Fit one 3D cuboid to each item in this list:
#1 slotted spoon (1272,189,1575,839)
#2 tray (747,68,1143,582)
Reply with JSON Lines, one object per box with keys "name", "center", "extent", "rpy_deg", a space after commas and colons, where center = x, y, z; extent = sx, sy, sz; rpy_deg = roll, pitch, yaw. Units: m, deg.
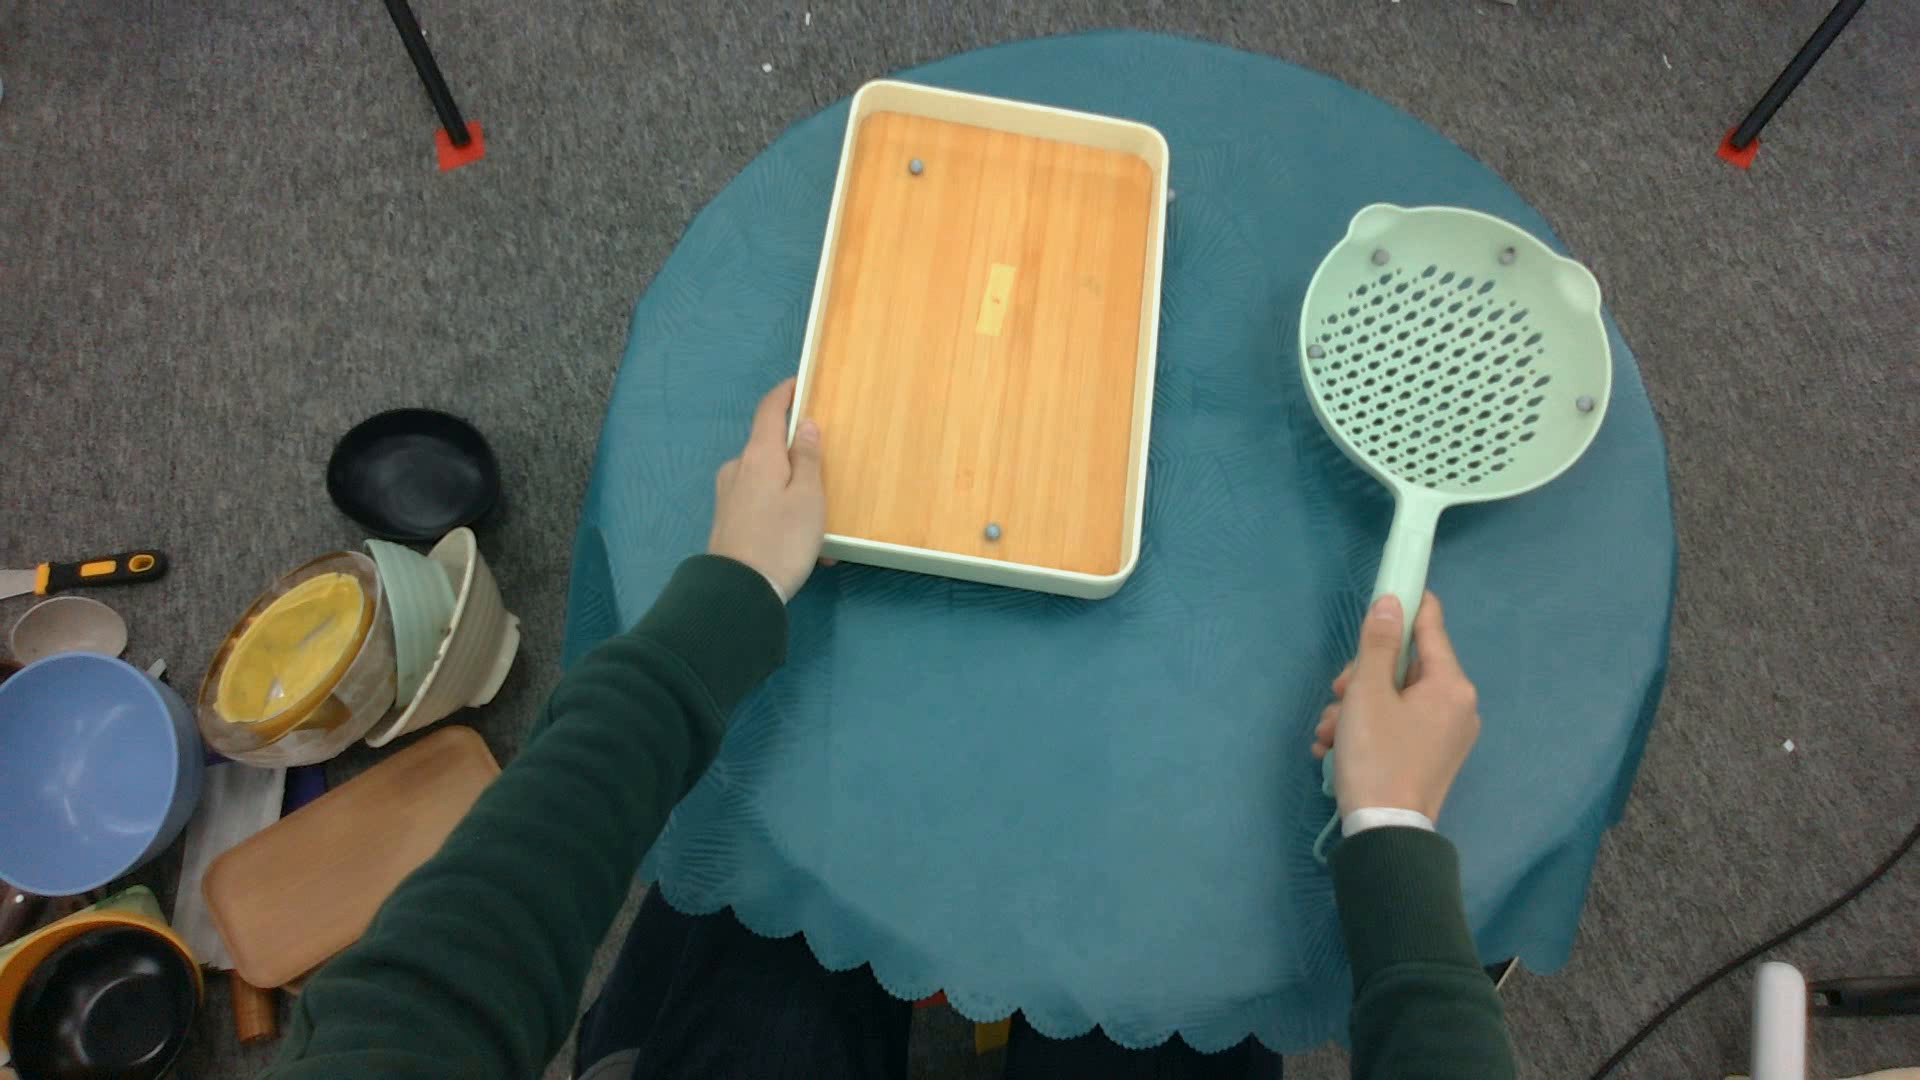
{"name": "slotted spoon", "center": [0.223, -0.021, 0.725], "extent": [0.169, 0.075, 0.360], "rpy_deg": [17, 63, 1]}
{"name": "tray", "center": [-0.001, -0.128, 0.770], "extent": [0.191, 0.027, 0.301], "rpy_deg": [9, 65, -4]}
